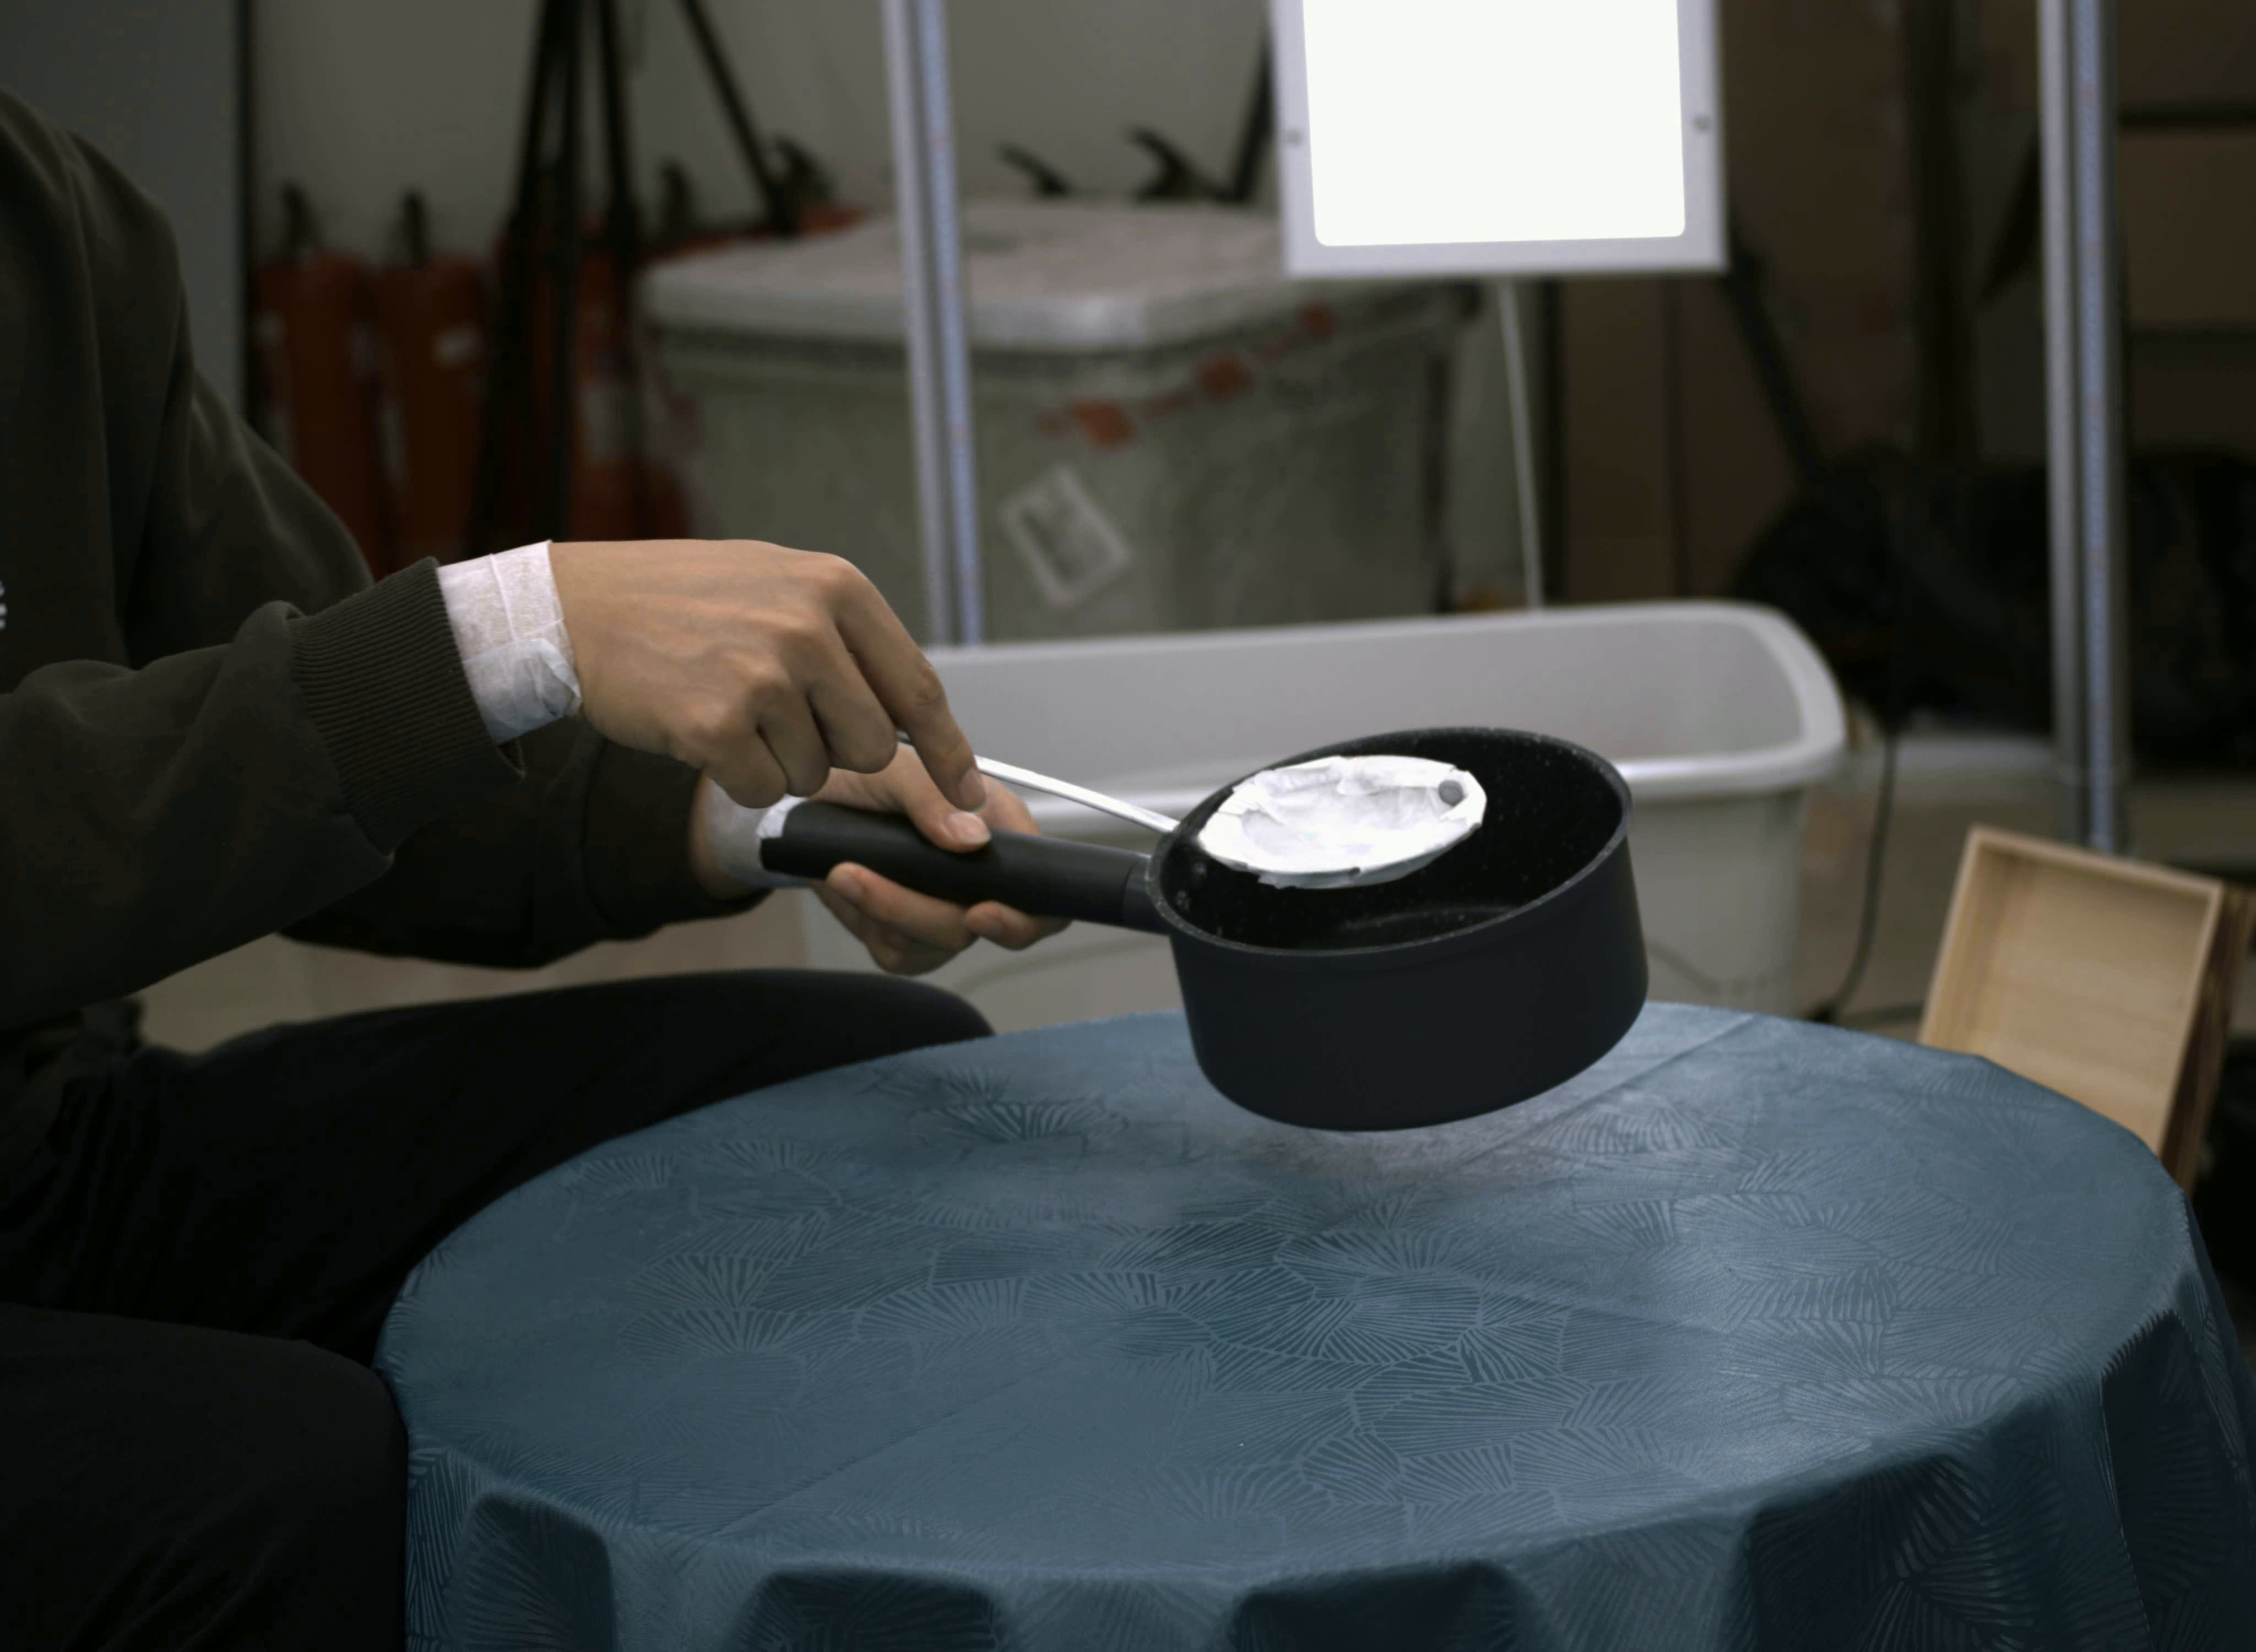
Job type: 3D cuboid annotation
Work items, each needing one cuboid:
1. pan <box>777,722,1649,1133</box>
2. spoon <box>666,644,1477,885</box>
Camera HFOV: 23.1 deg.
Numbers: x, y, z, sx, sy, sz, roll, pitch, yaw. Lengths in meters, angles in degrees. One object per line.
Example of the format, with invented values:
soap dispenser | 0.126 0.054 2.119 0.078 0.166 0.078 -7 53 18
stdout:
pan | 0.026 0.032 1.960 0.334 0.086 0.168 2 28 28
spoon | -0.018 -0.036 1.822 0.273 0.060 0.101 20 10 -17
